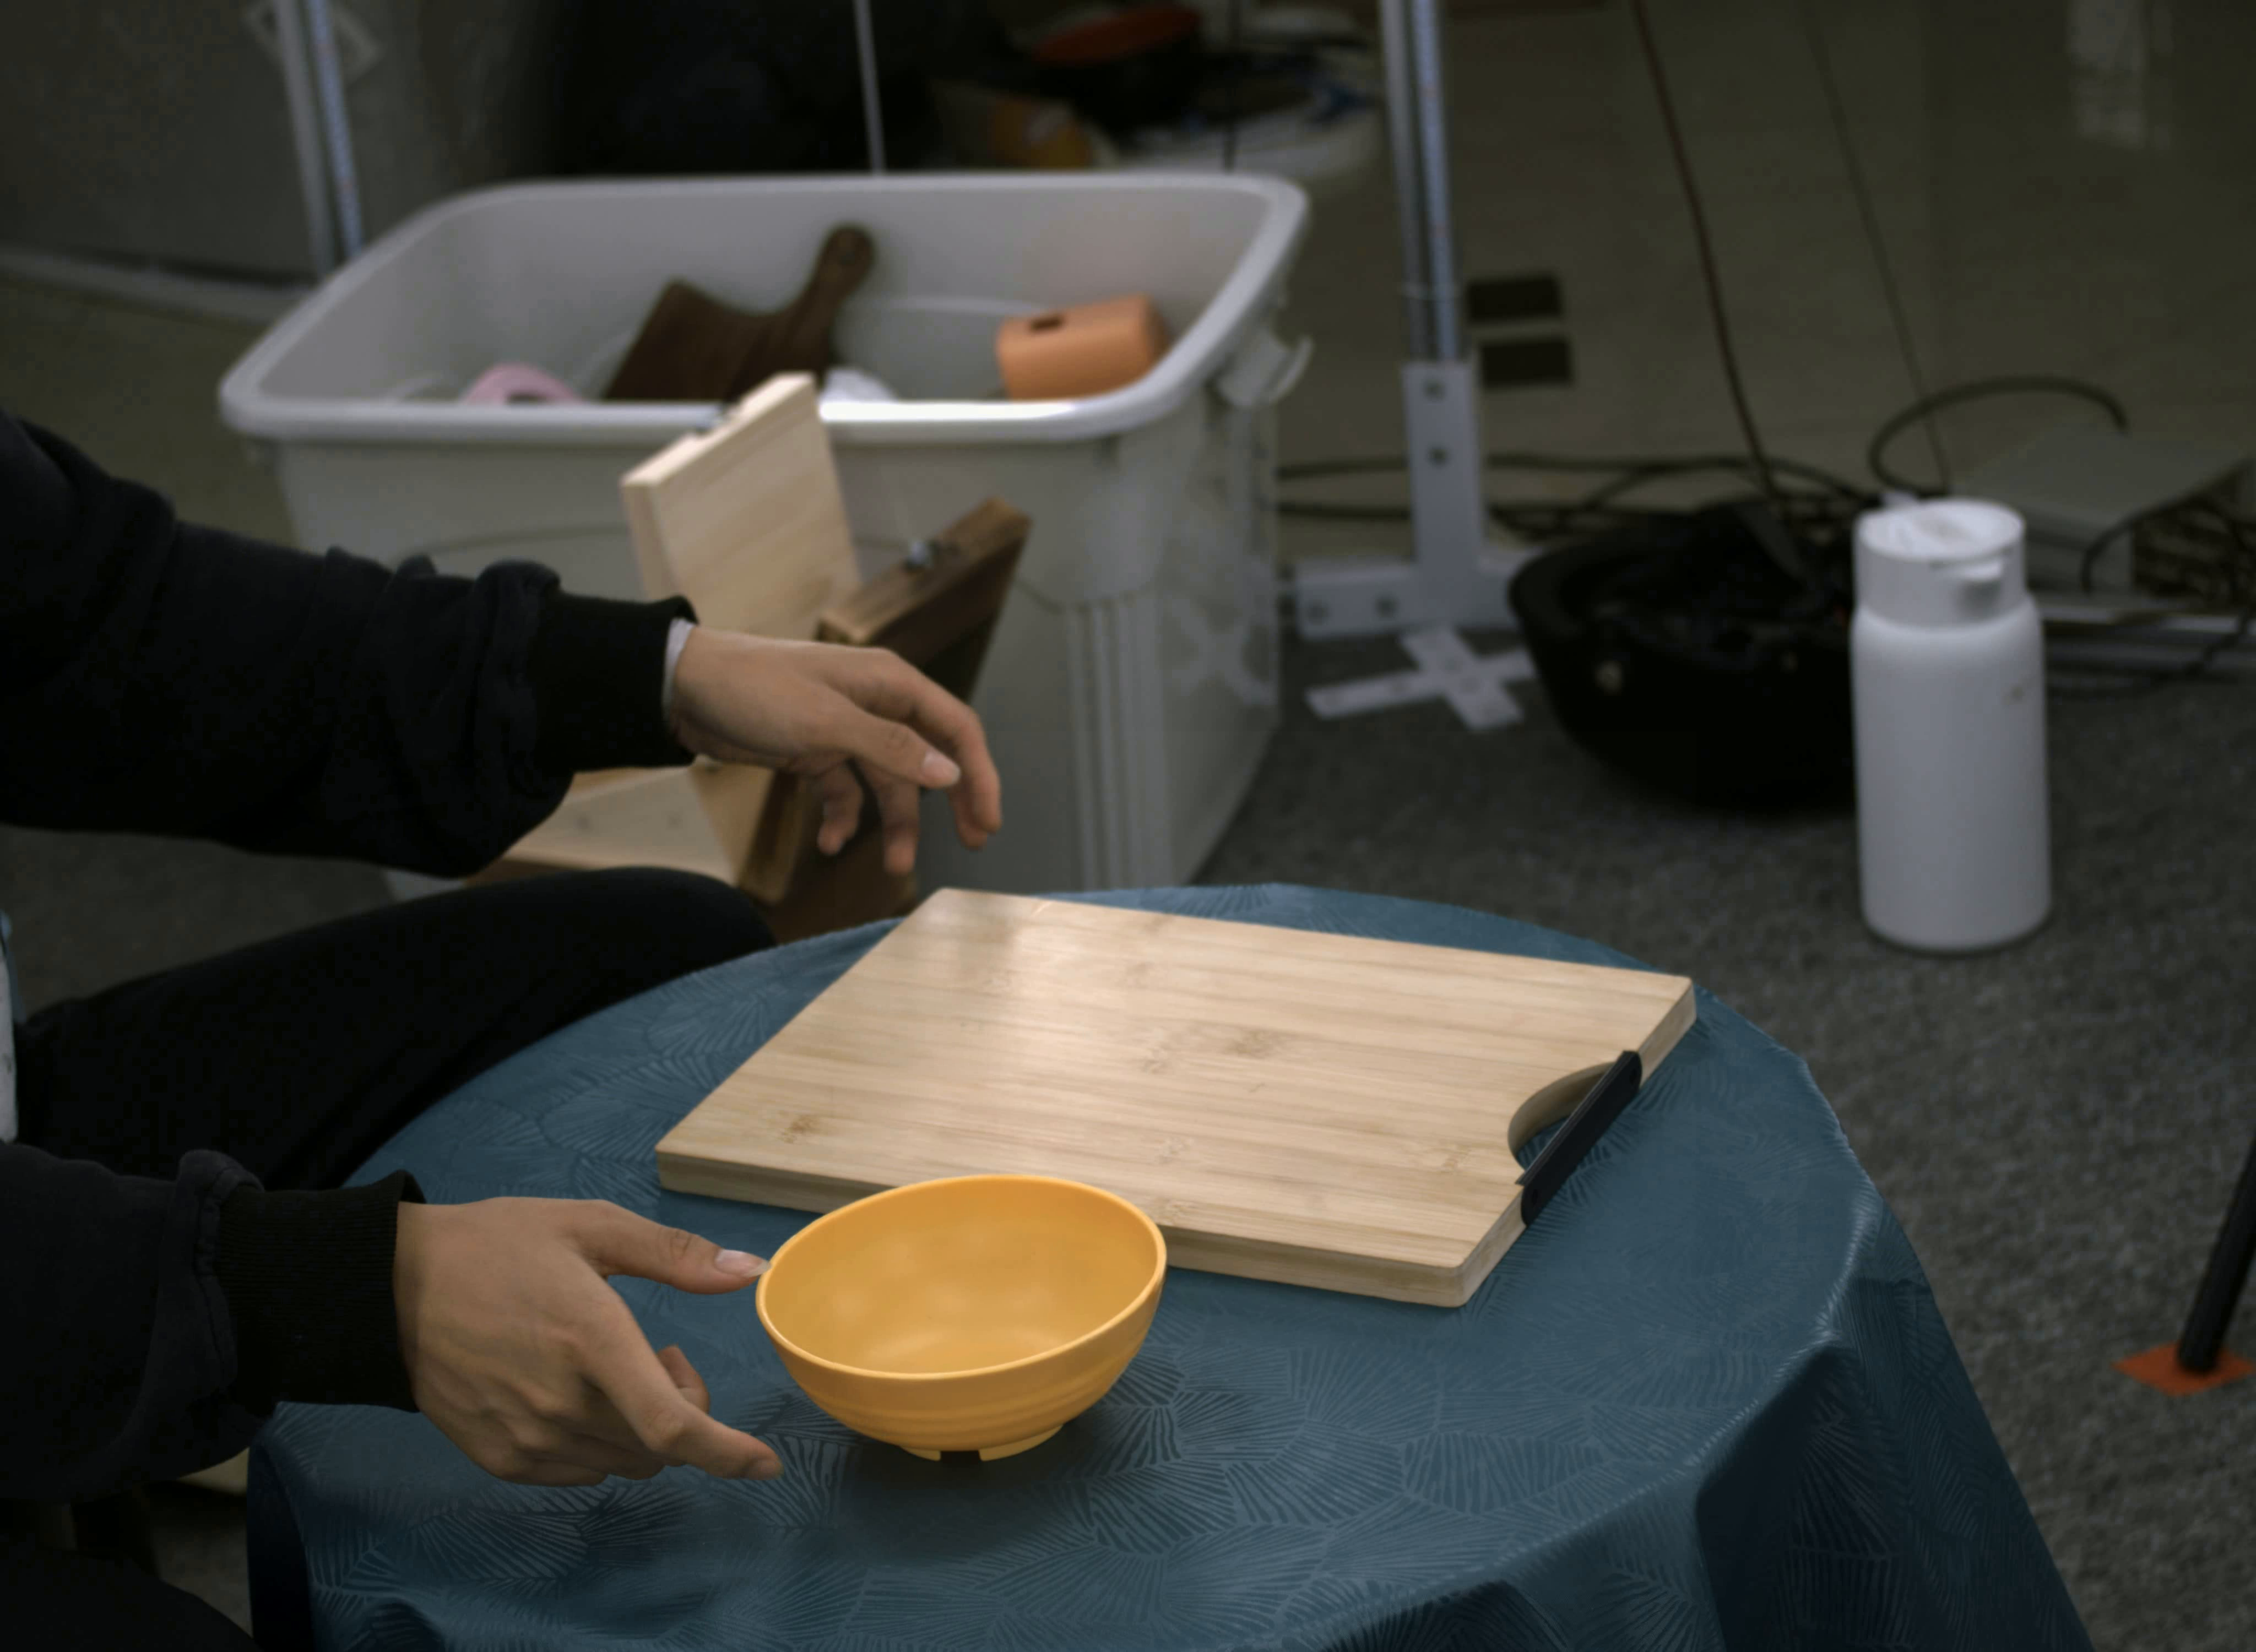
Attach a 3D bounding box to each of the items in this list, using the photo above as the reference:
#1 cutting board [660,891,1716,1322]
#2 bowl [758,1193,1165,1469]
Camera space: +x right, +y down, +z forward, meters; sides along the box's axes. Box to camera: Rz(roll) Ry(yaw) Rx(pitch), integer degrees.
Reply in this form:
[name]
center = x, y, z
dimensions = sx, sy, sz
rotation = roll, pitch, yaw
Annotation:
[cutting board]
center = 0.025, 0.103, 2.206
dimensions = 0.347, 0.024, 0.247
rotation = 6, 28, 25
[bowl]
center = -0.056, 0.185, 2.001
dimensions = 0.145, 0.061, 0.143
rotation = -5, 22, 2
